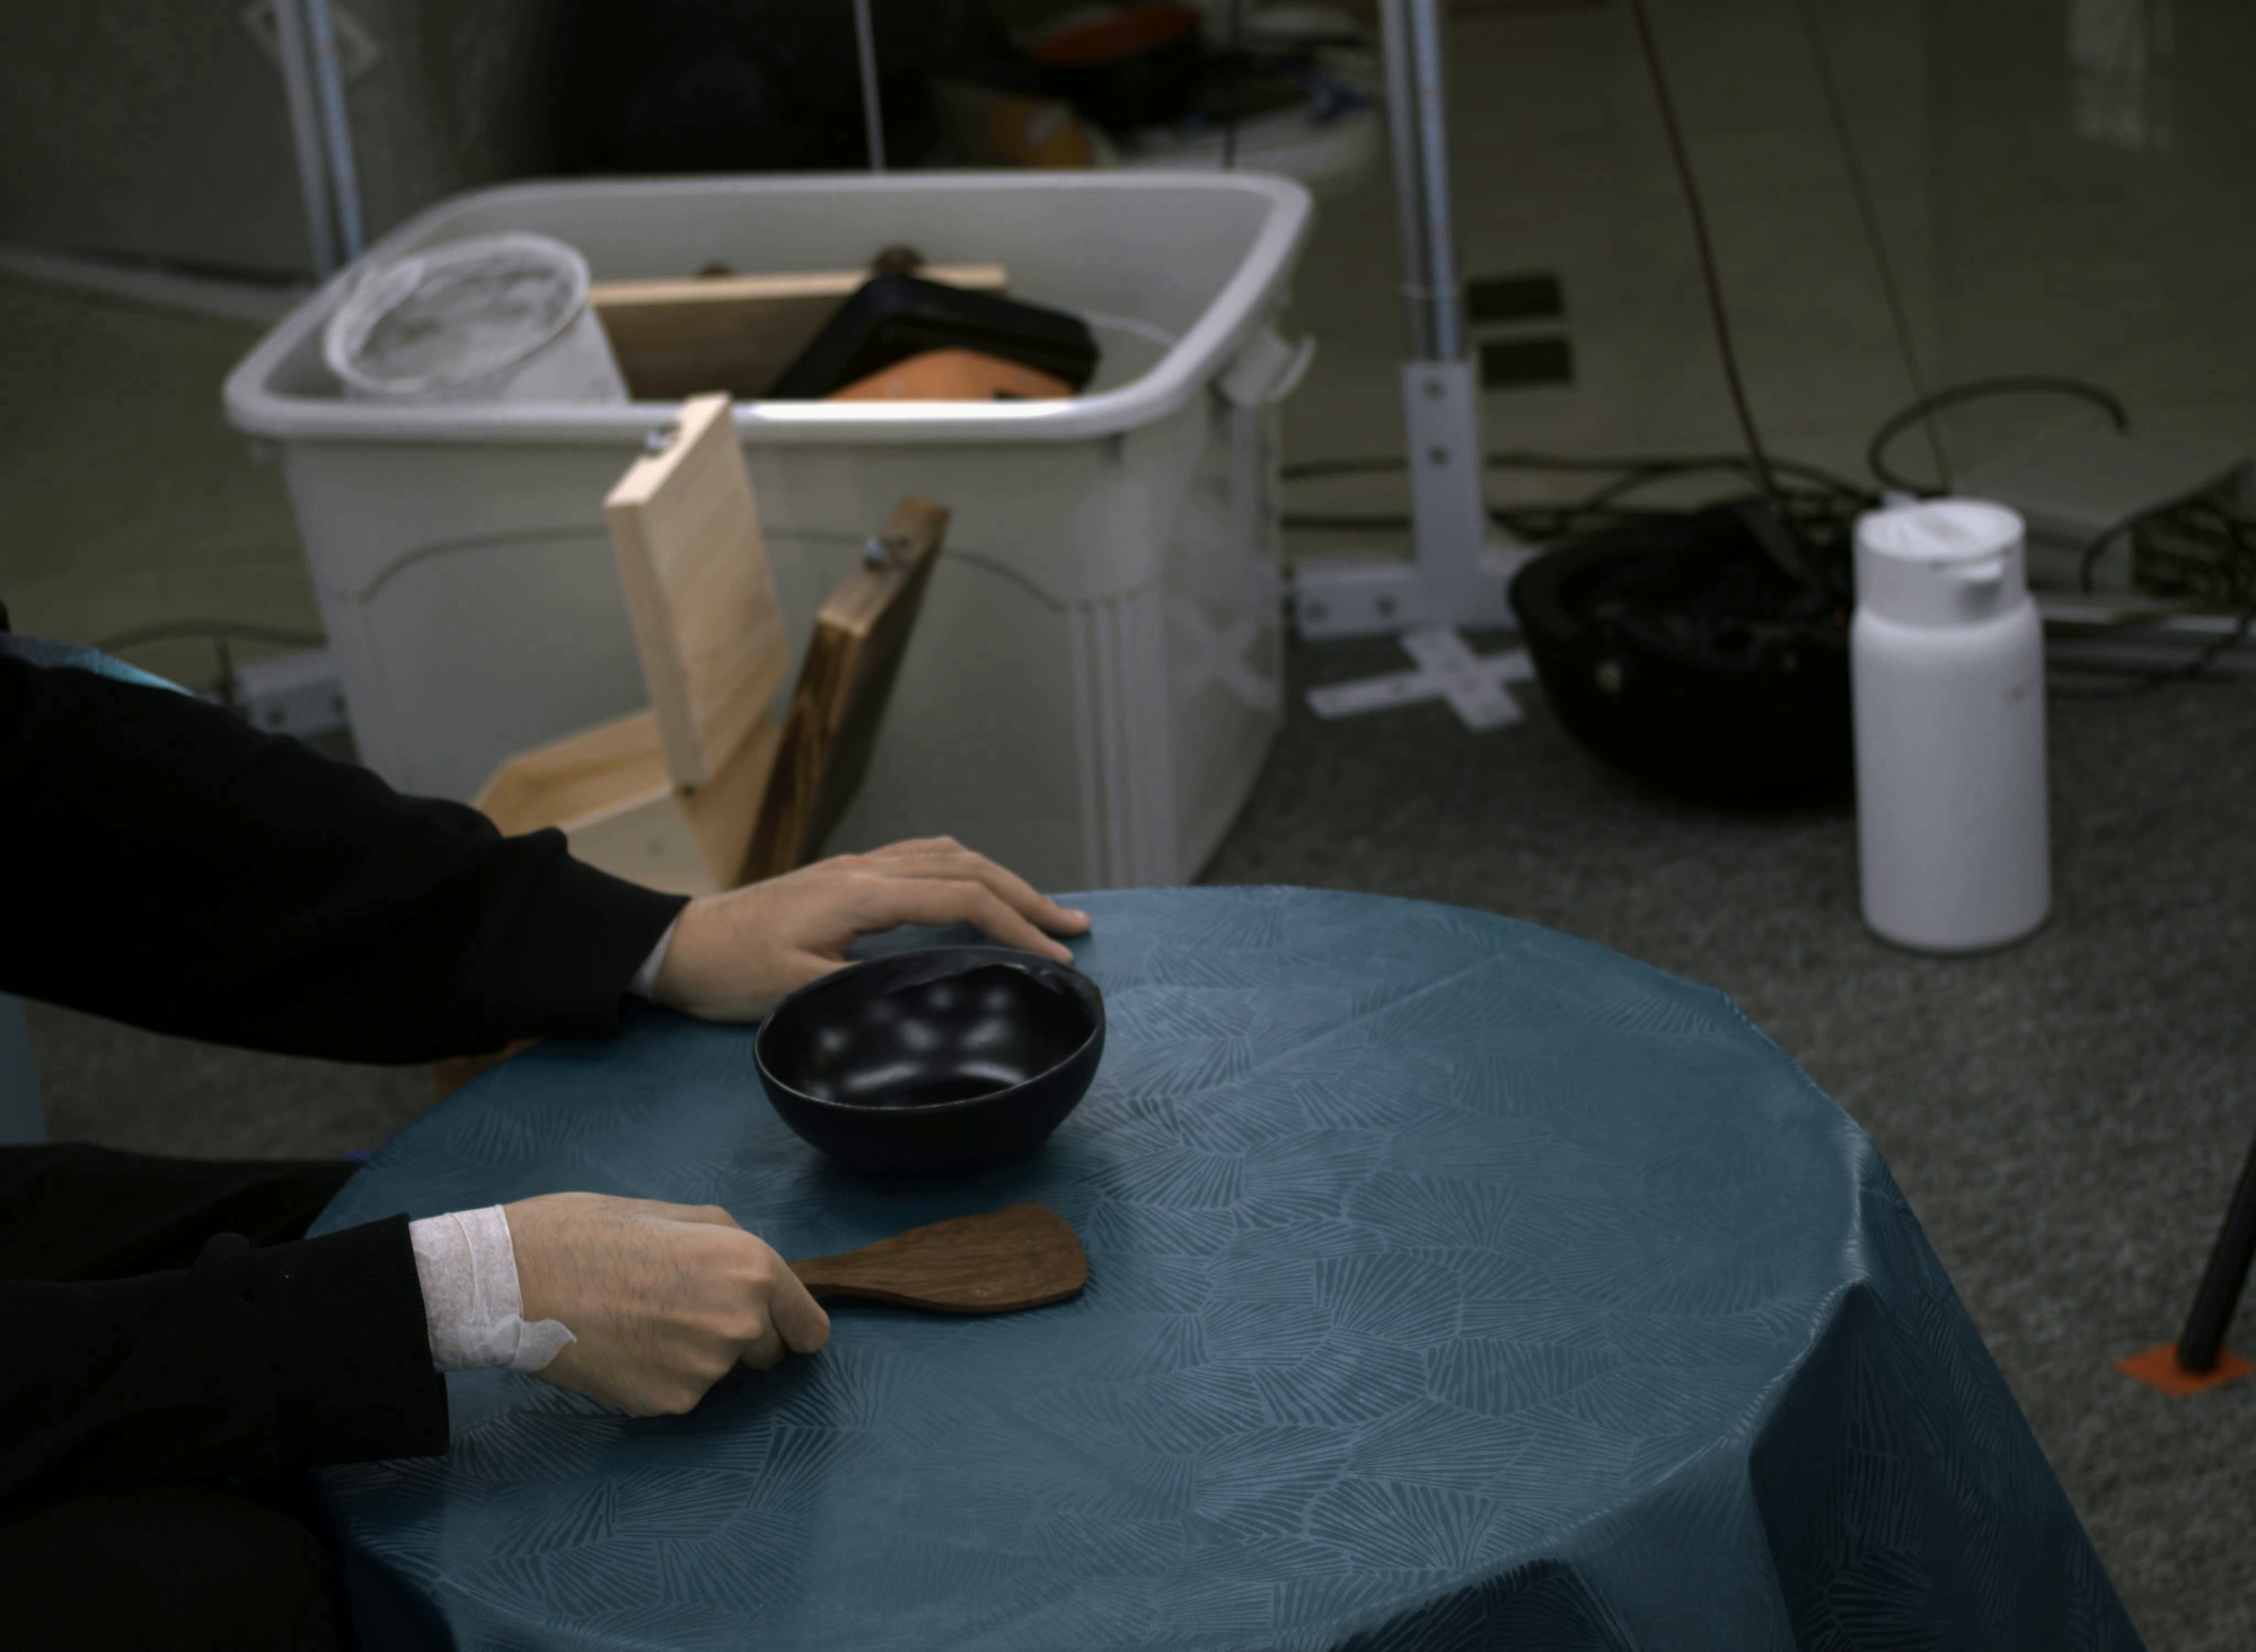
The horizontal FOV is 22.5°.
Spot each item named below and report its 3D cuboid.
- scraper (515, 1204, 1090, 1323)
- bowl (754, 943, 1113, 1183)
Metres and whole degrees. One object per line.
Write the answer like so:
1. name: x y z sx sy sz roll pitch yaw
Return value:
1. scraper: -0.120 0.167 2.093 0.211 0.011 0.075 -4 23 -11
2. bowl: -0.073 0.099 2.200 0.140 0.050 0.138 -6 28 3
